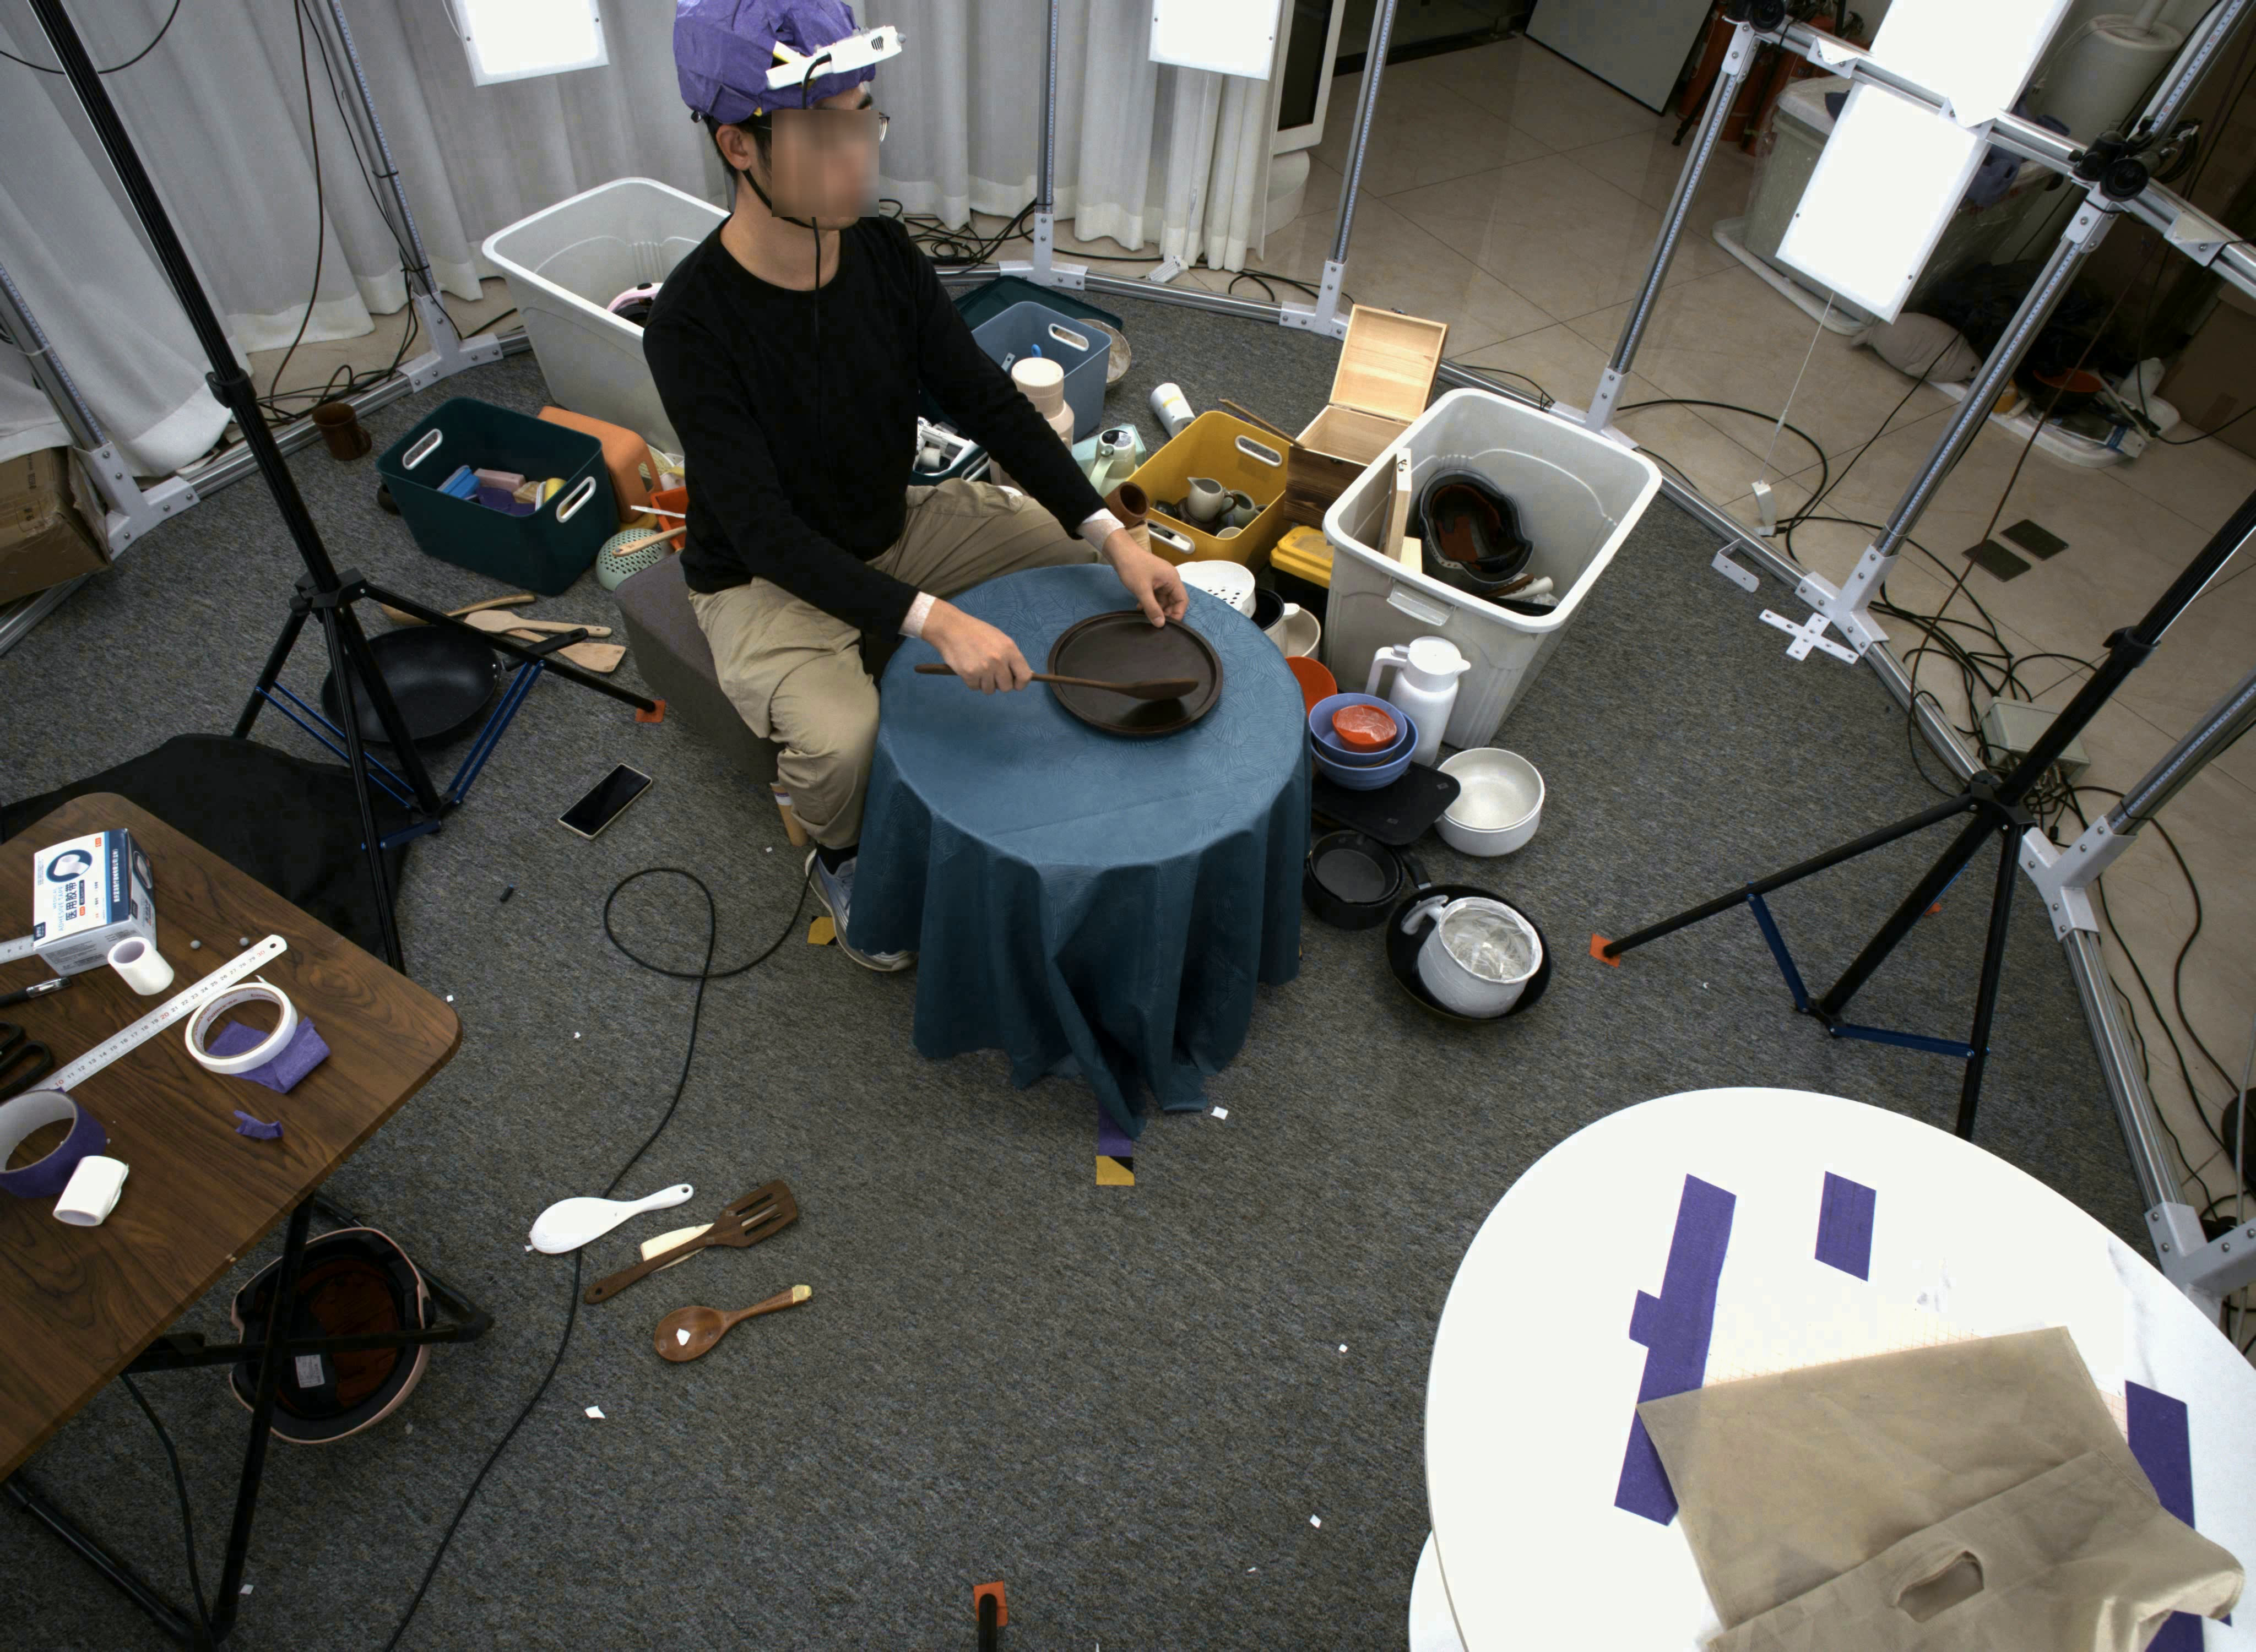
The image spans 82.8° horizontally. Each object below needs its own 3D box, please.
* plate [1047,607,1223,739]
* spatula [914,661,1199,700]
[{"bbox_3d":[0.010,-0.219,1.844,0.254,0.028,0.261,1,50,-2],"label":"plate"},{"bbox_3d":[-0.092,-0.198,1.730,0.384,0.095,0.016,4,79,-13],"label":"spatula"}]
